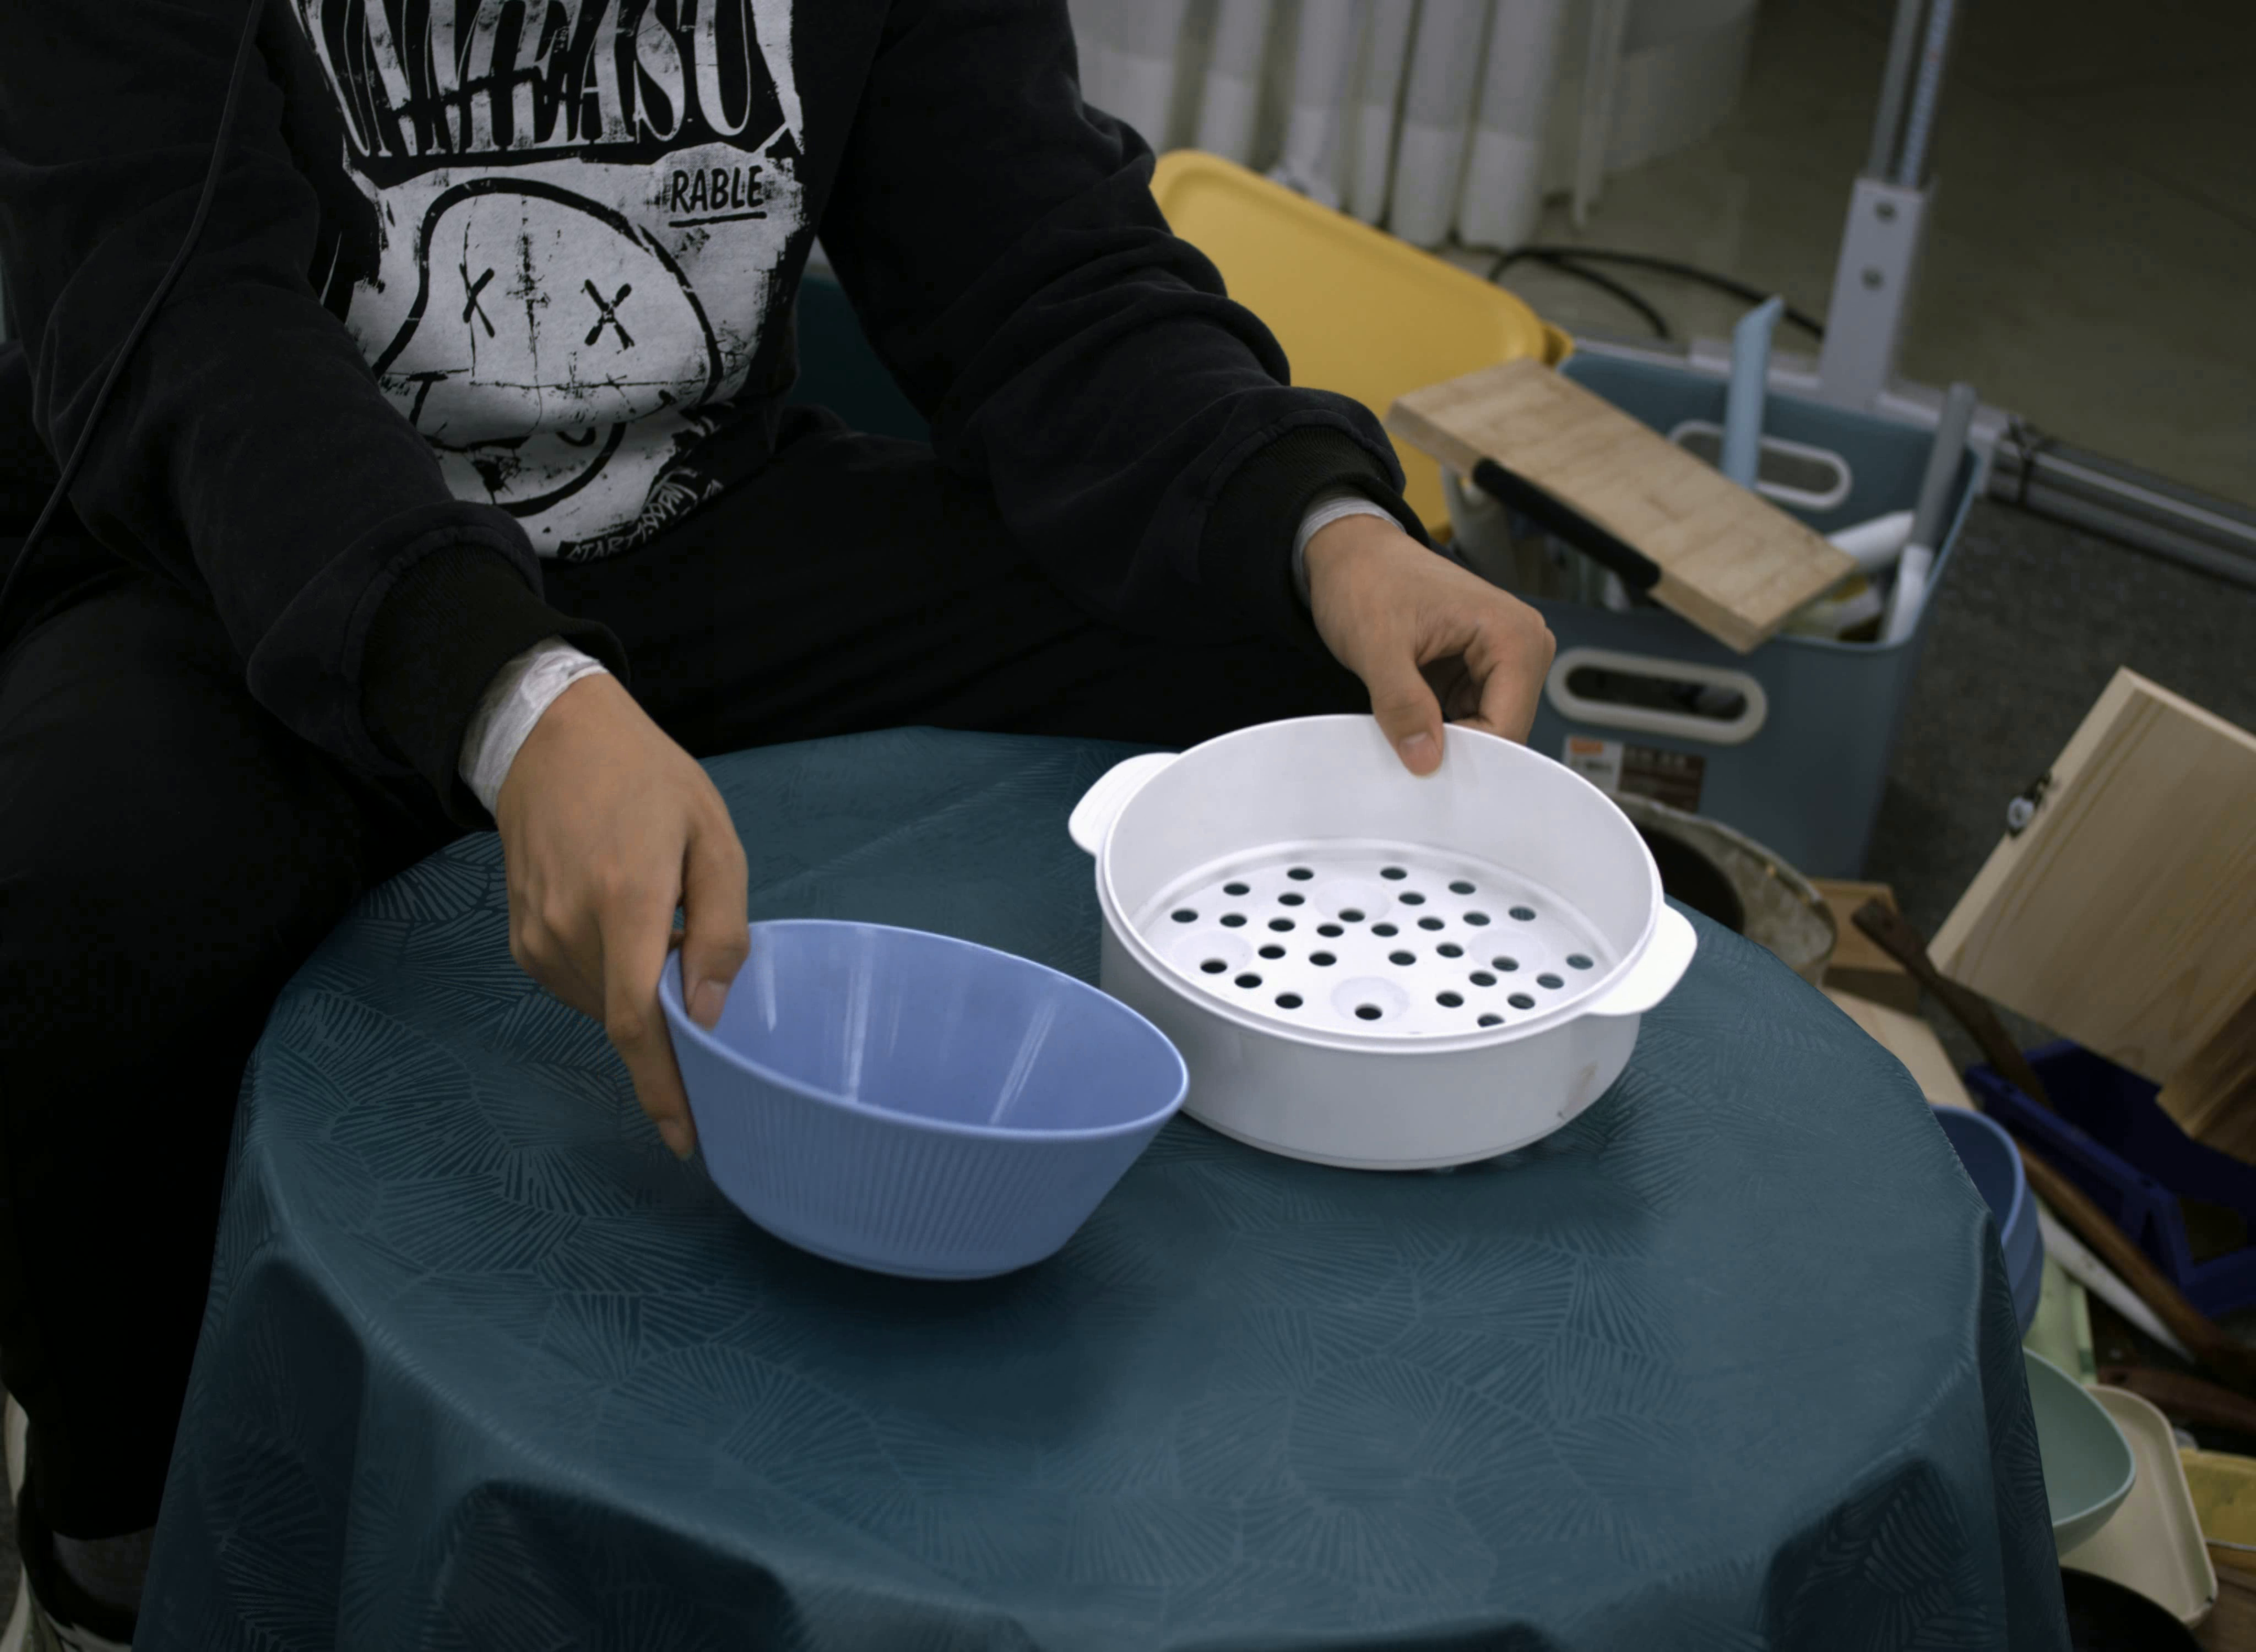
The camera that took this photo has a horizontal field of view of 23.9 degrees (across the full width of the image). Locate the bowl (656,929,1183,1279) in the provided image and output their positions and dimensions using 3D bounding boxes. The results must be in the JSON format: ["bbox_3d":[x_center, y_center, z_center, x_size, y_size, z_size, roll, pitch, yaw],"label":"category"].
[{"bbox_3d":[-0.074,0.095,1.738,0.175,0.070,0.177,11,17,-4],"label":"bowl"}]

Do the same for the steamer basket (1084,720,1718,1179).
[{"bbox_3d":[0.093,0.044,1.885,0.231,0.069,0.202,19,37,19],"label":"steamer basket"}]
